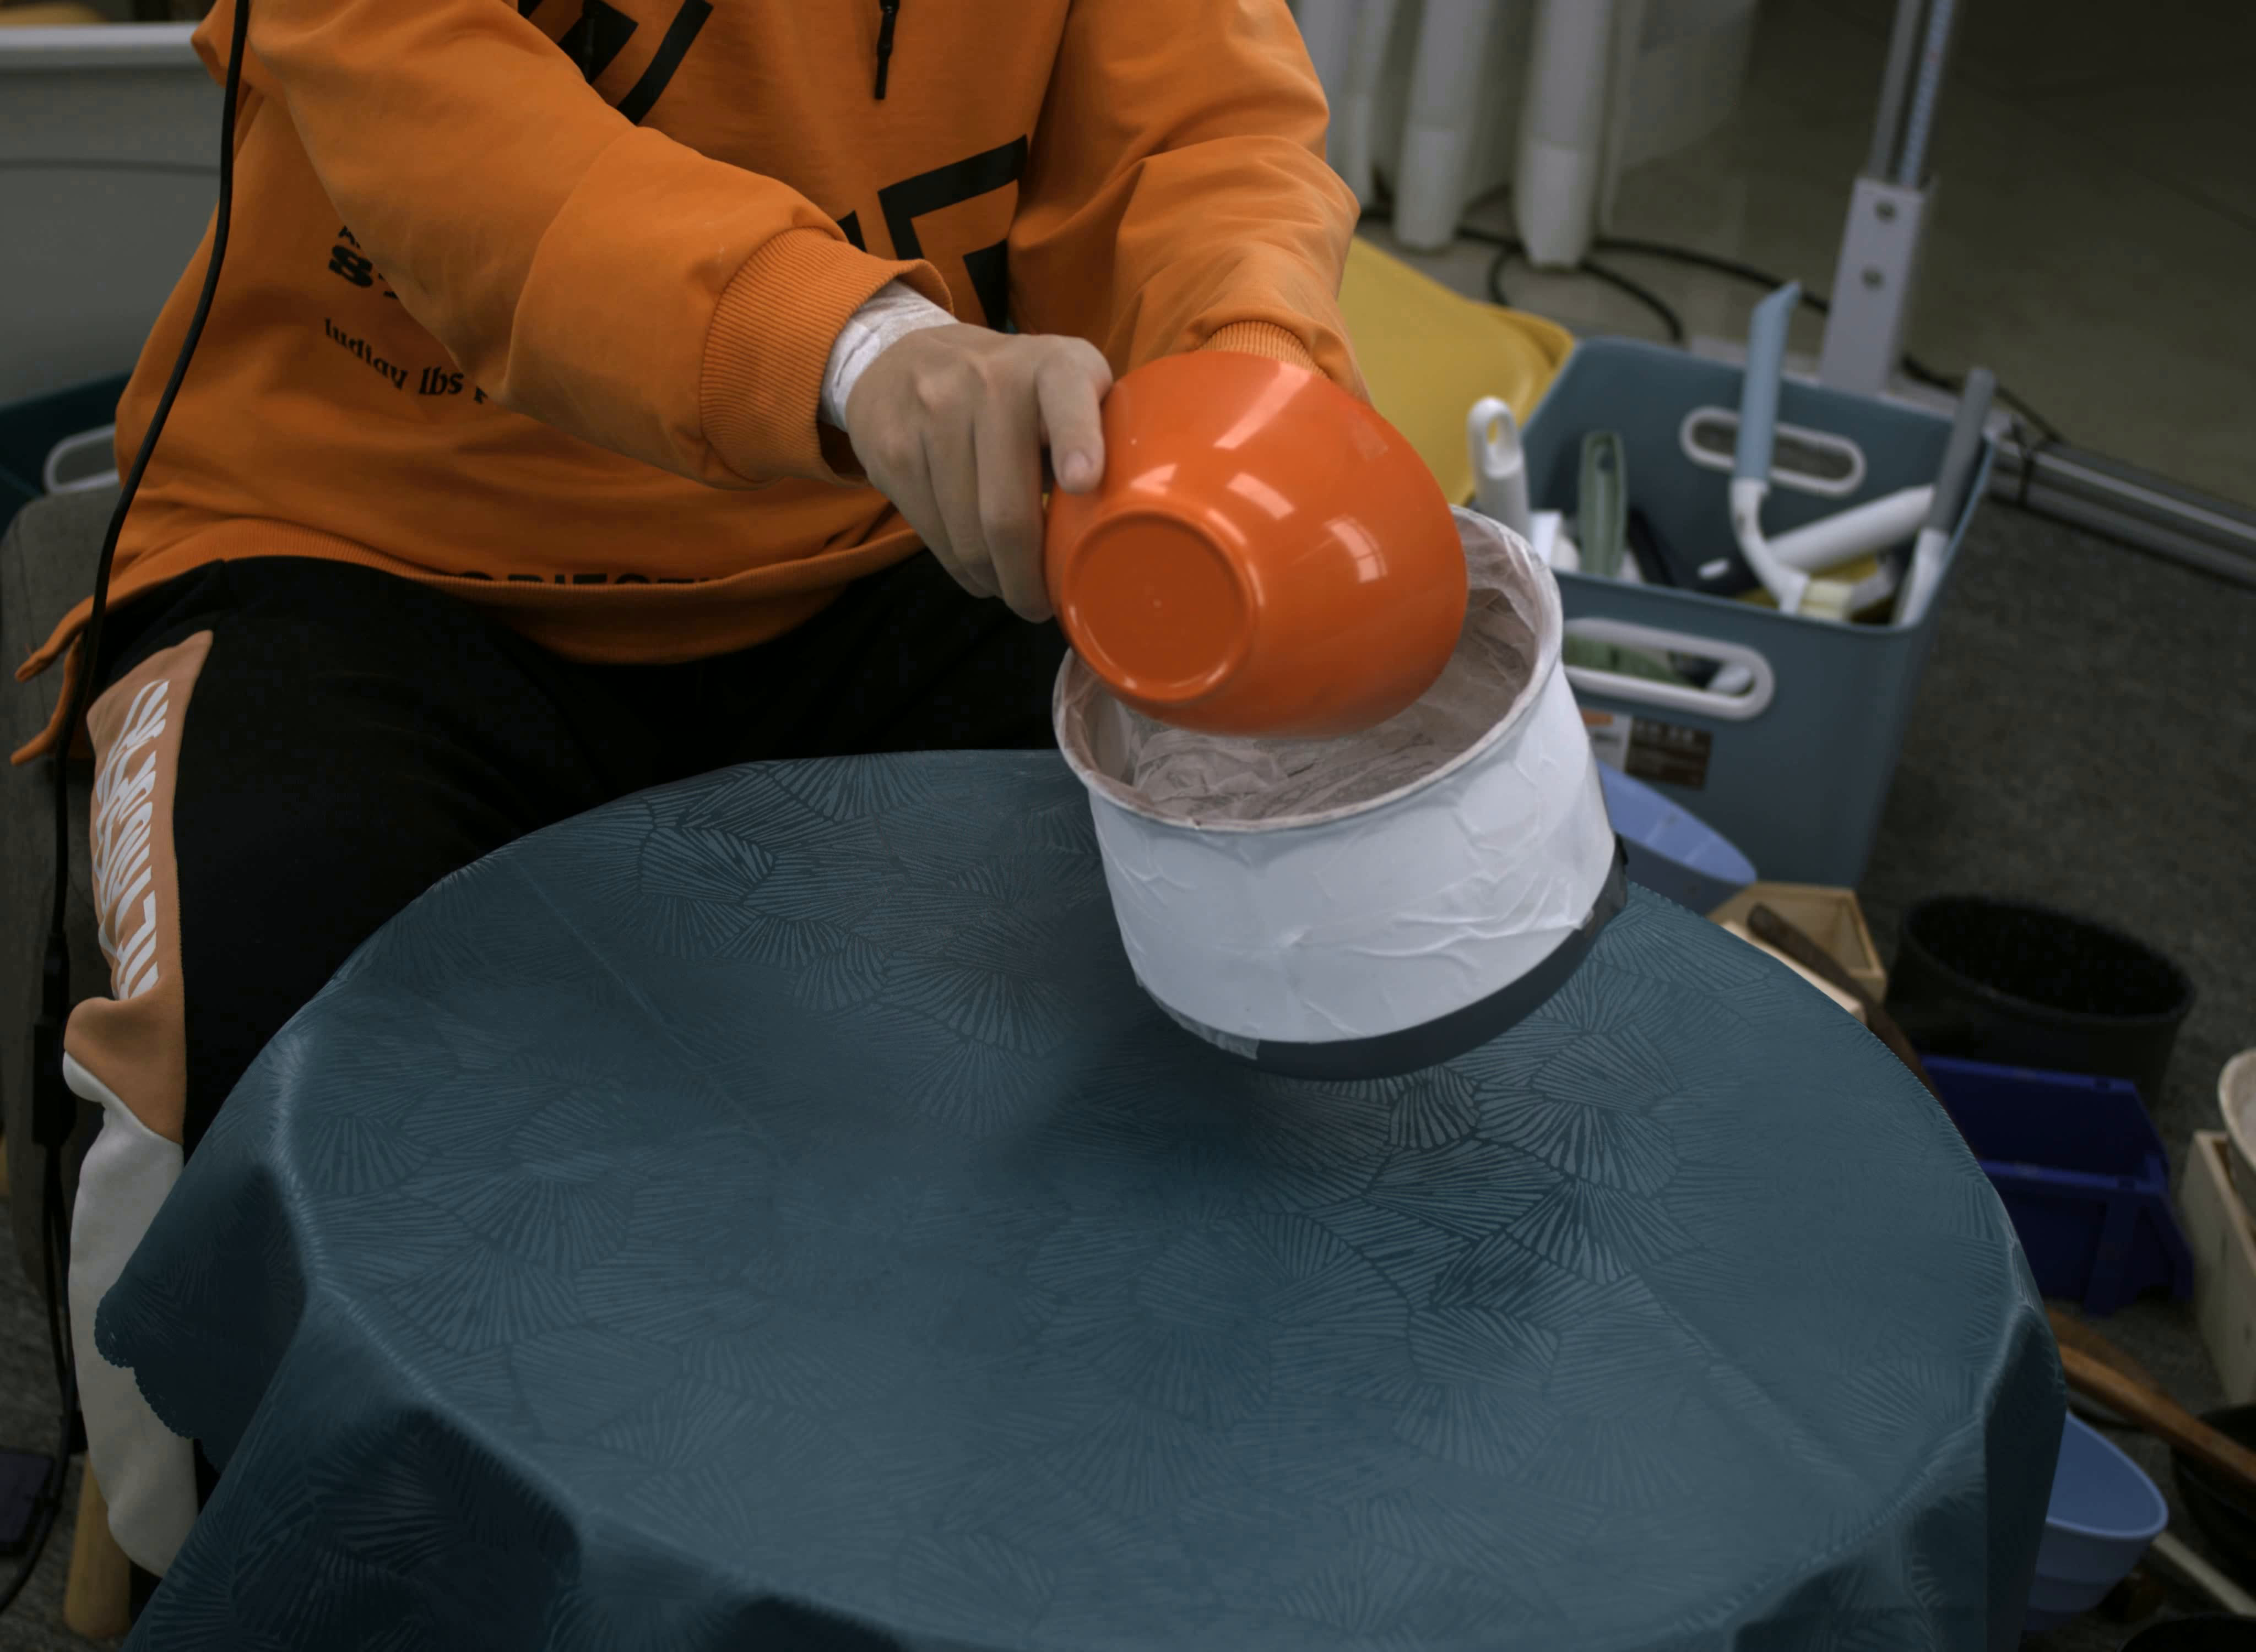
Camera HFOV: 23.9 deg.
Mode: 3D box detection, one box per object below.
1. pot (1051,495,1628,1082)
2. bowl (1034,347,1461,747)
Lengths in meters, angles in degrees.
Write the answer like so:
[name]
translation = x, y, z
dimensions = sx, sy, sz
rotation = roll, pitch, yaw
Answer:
[pot]
translation = 0.072, -0.027, 1.849
dimensions = 0.178, 0.135, 0.236
rotation = -14, 38, 4
[bowl]
translation = 0.027, -0.078, 1.750
dimensions = 0.148, 0.147, 0.104
rotation = 16, 26, 17
